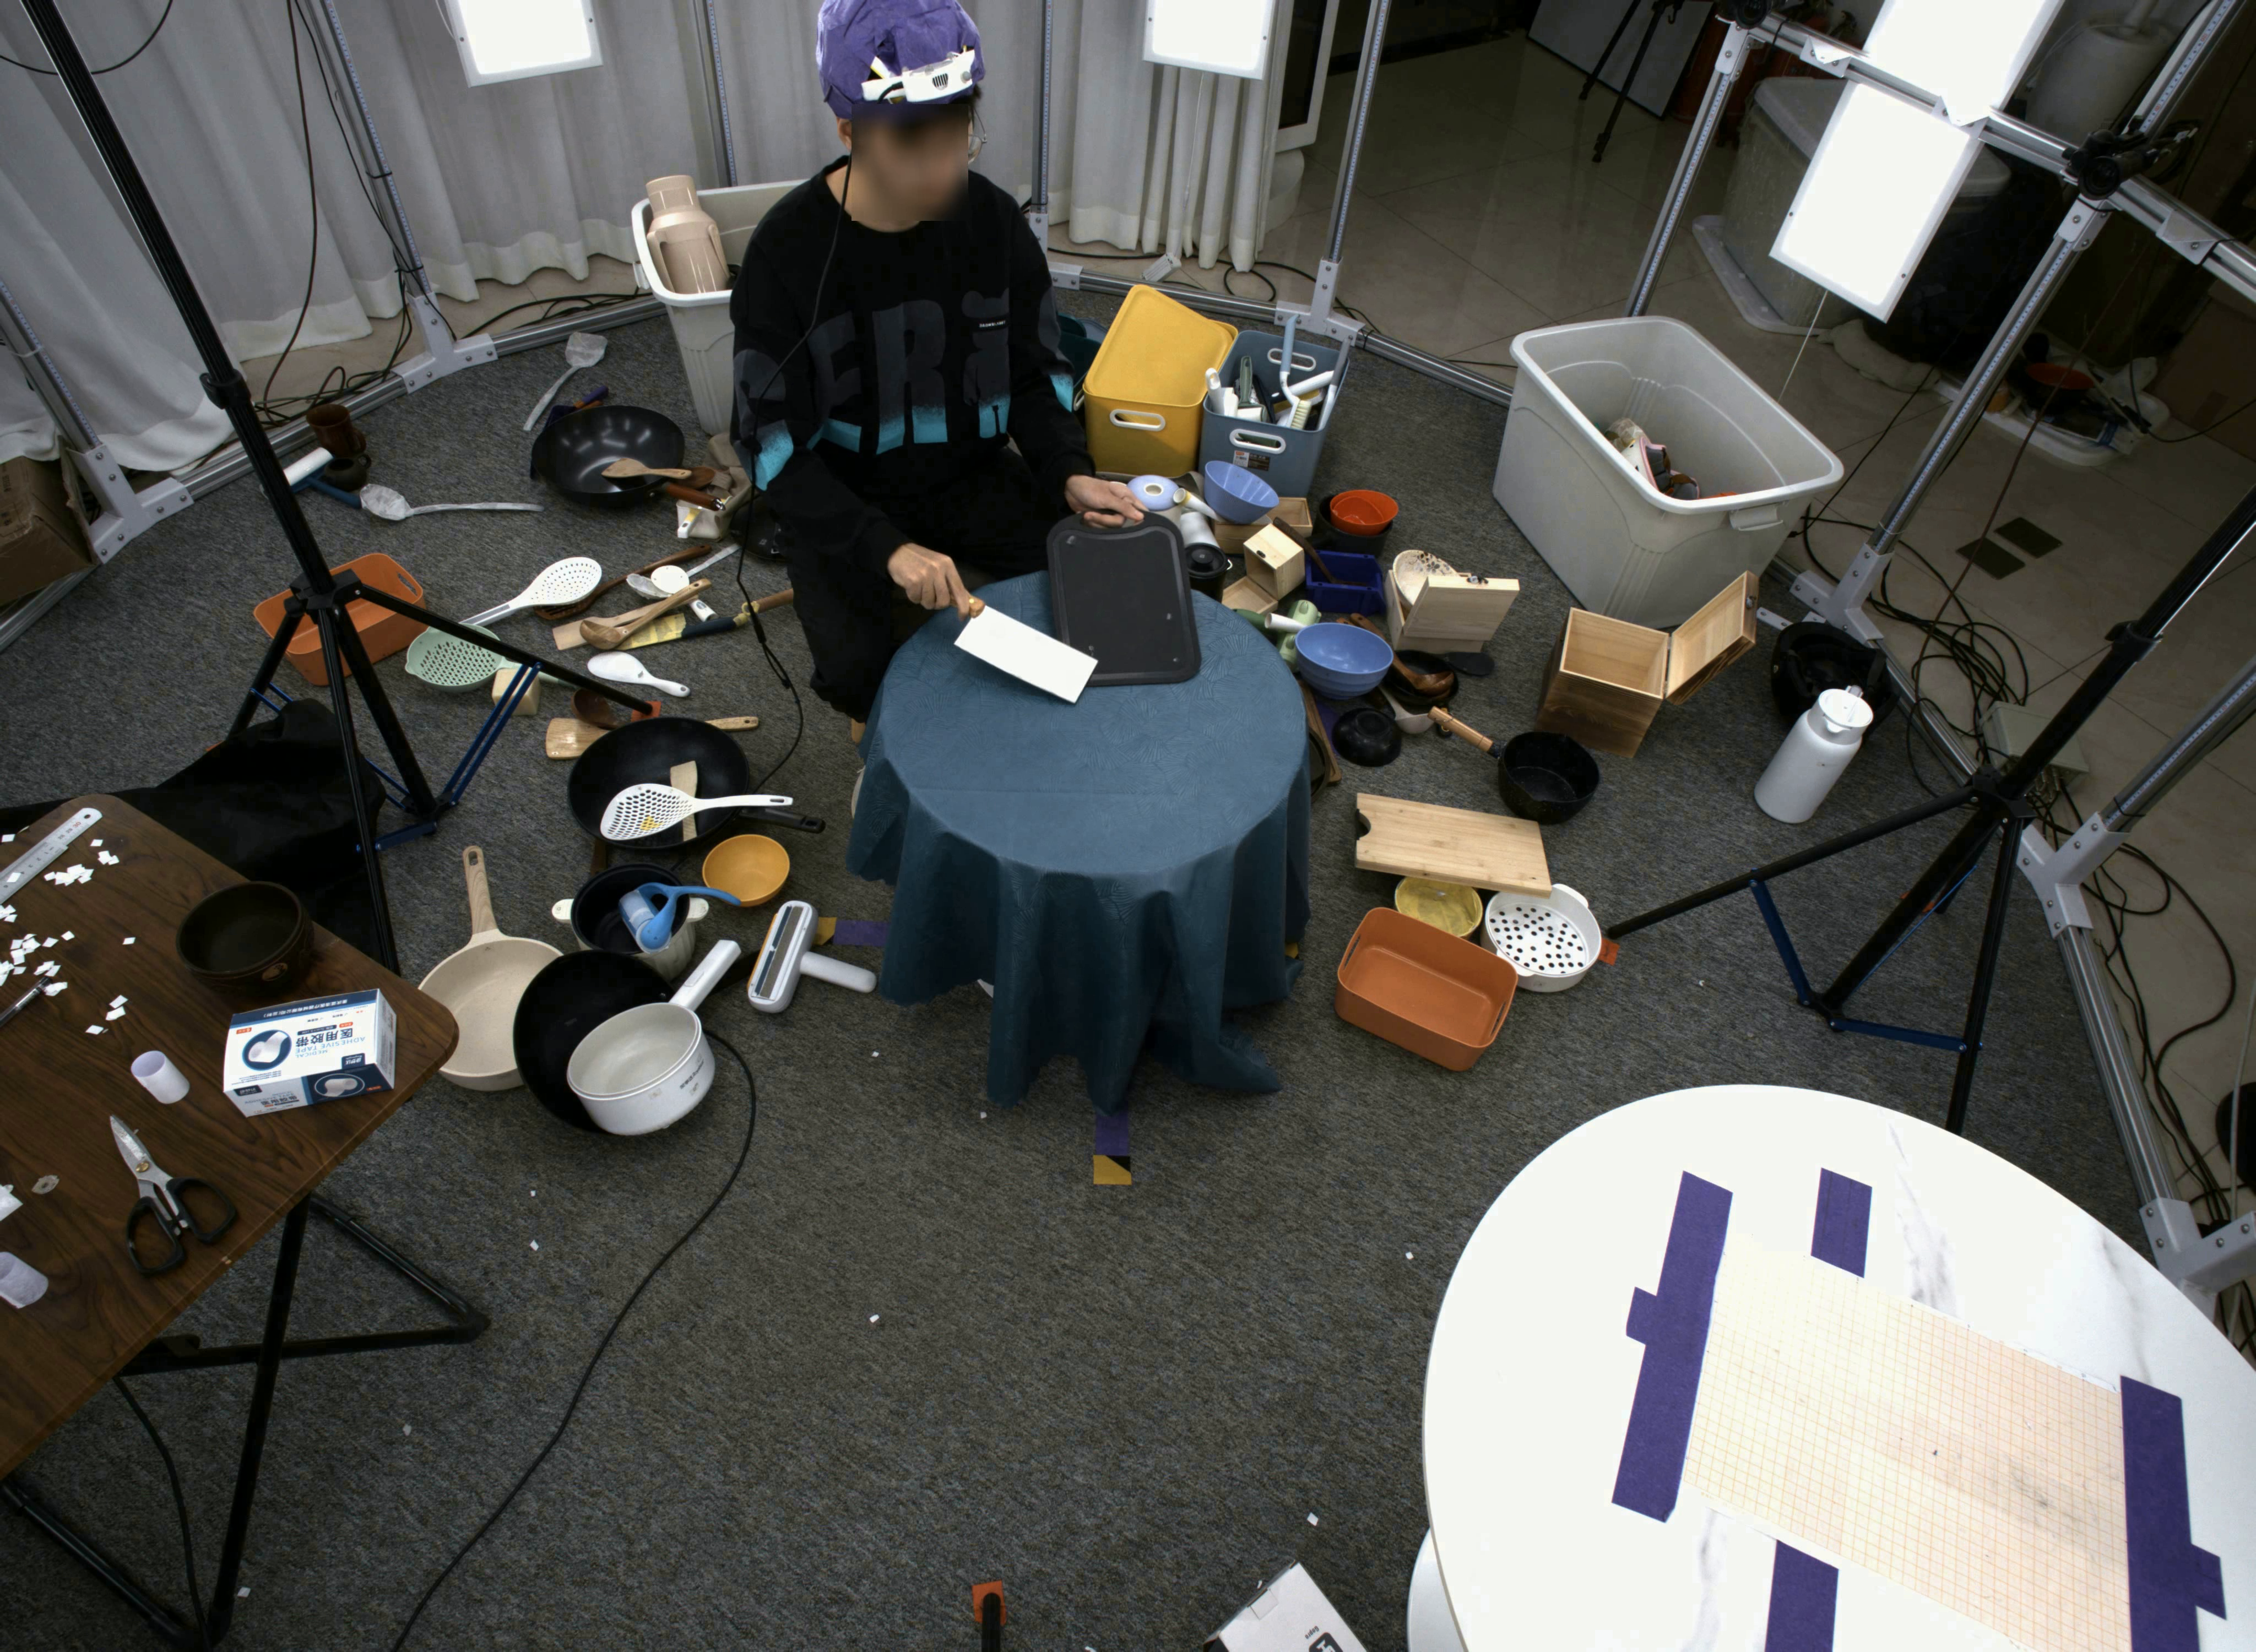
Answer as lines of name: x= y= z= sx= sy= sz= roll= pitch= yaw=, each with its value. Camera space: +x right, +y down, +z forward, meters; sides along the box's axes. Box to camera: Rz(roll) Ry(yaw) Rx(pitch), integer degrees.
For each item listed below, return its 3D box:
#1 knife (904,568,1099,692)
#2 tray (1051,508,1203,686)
knife: x=-0.190 y=-0.275 z=1.838 sx=0.306 sy=0.020 sz=0.095 roll=26 pitch=53 yaw=2
tray: x=-0.005 y=-0.349 z=1.922 sx=0.211 sy=0.009 sz=0.332 roll=-3 pitch=61 yaw=-6
